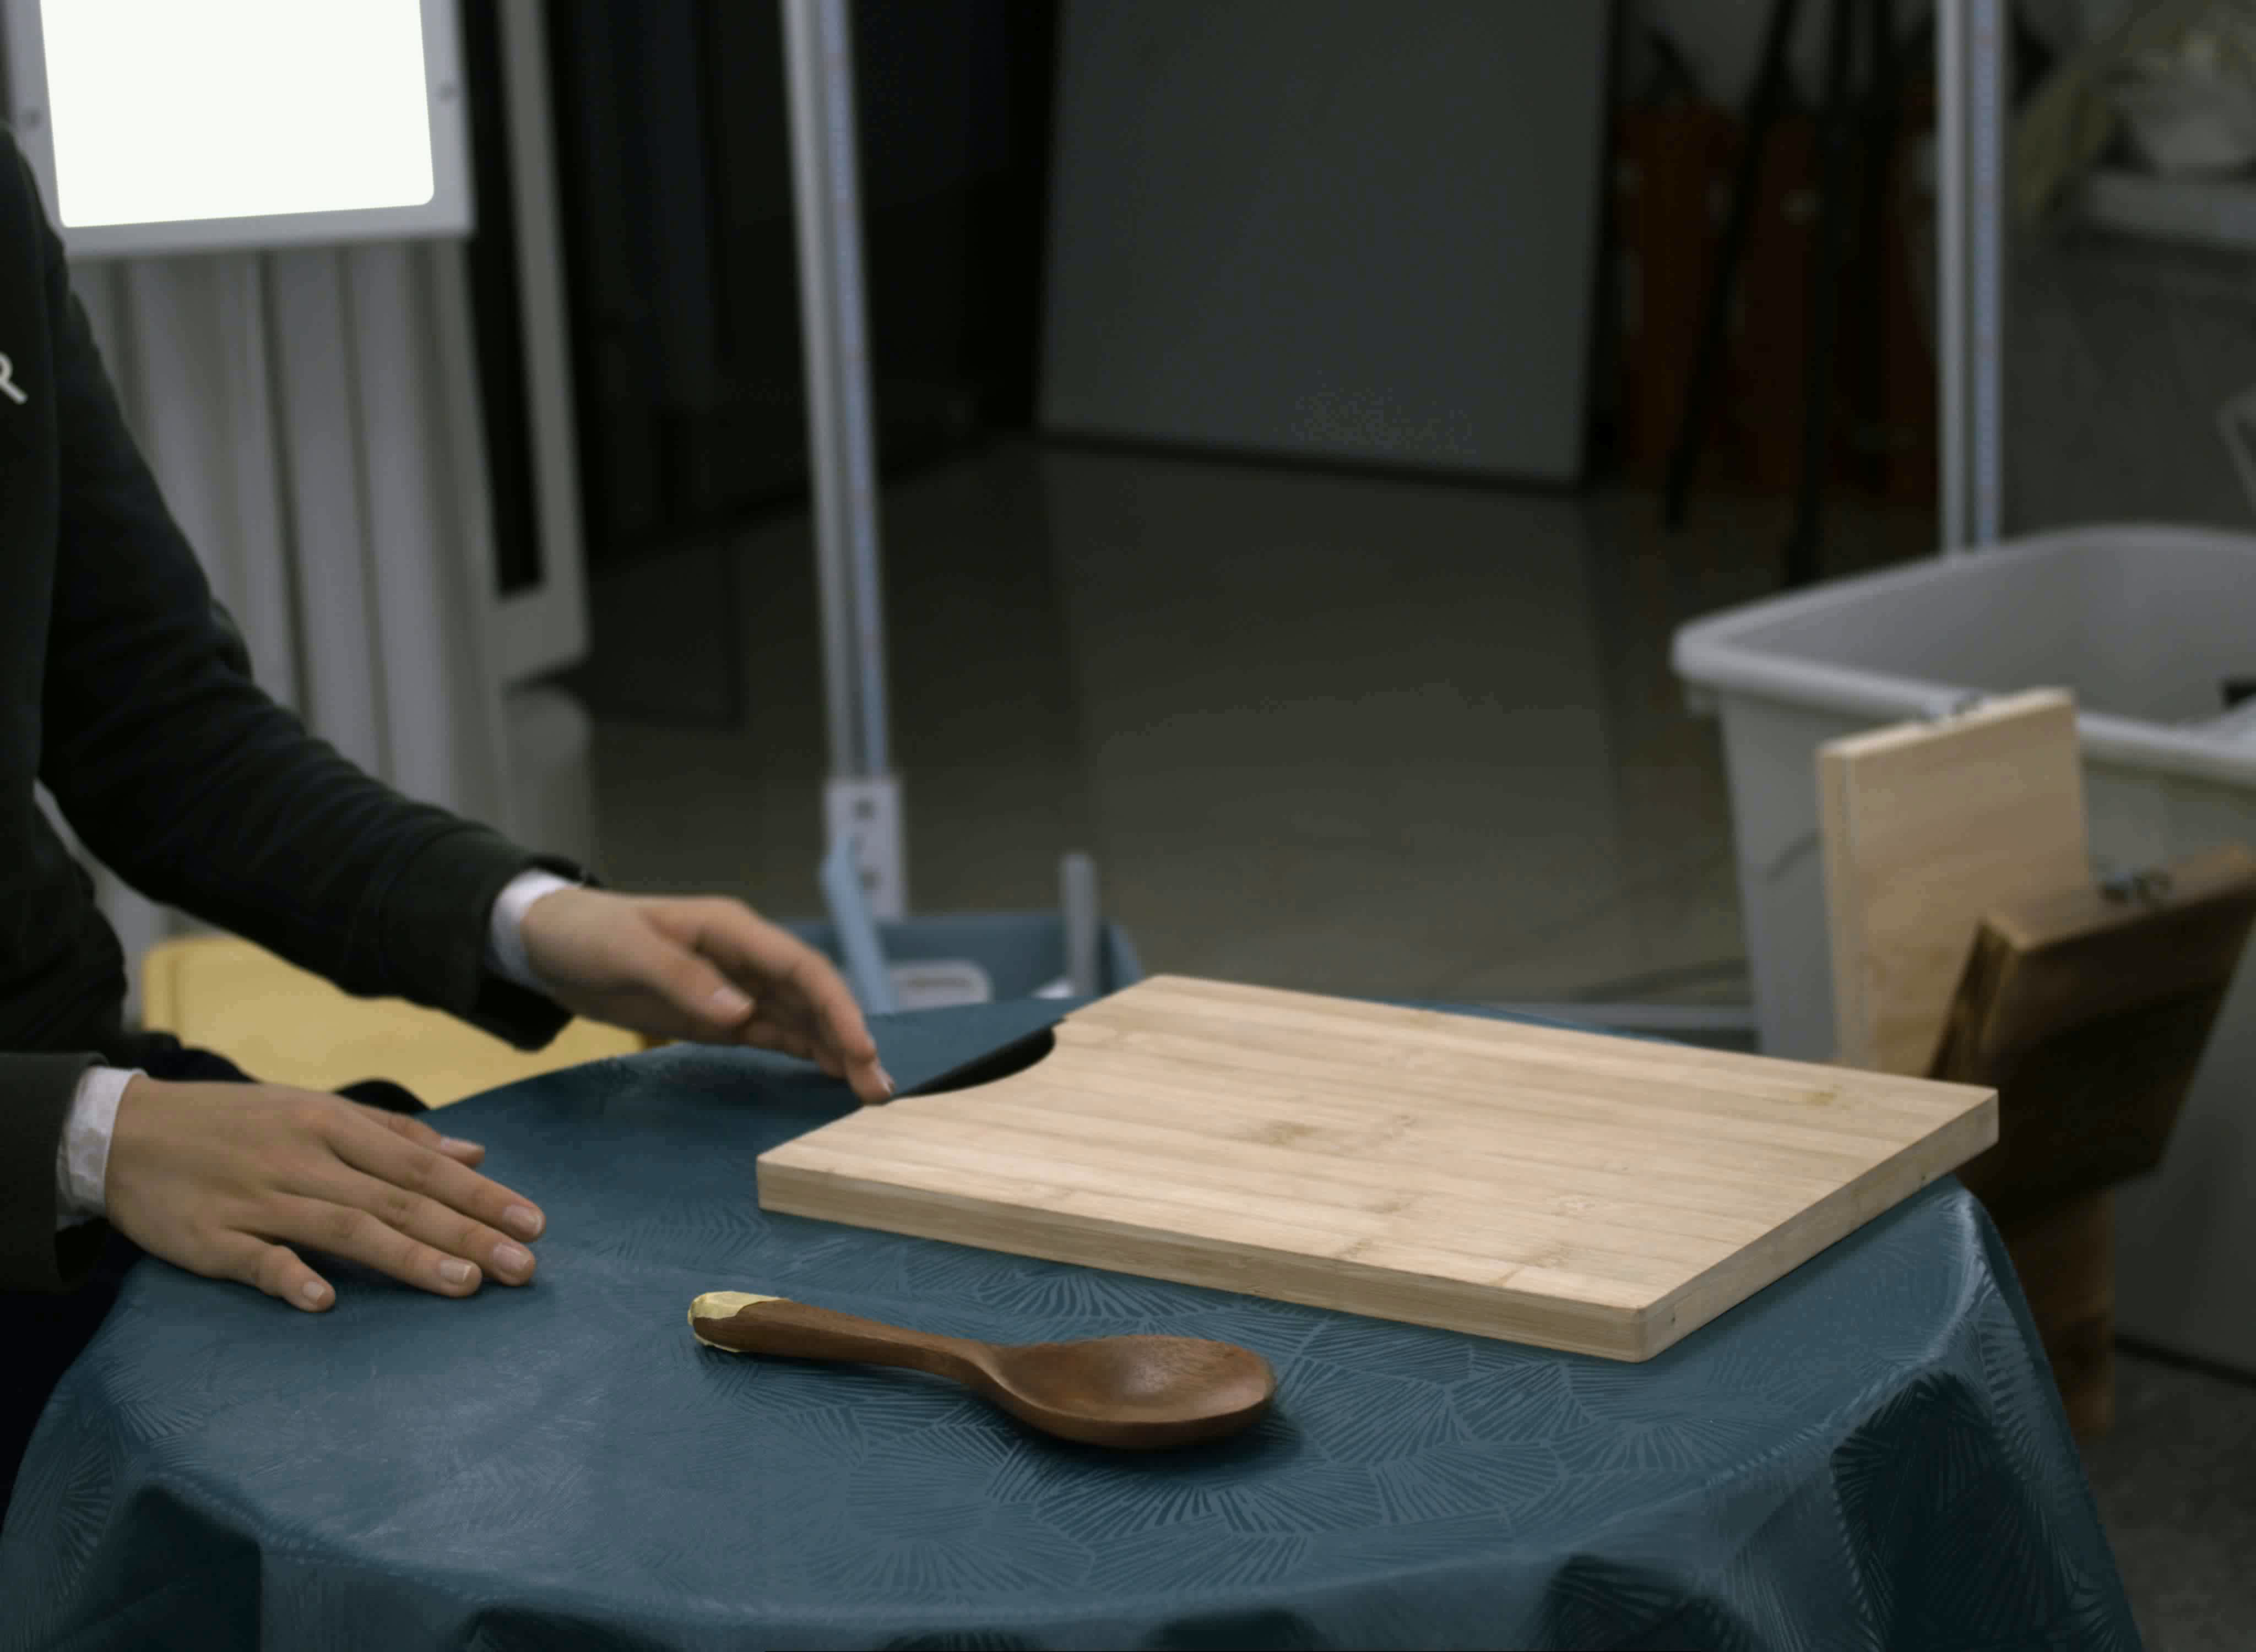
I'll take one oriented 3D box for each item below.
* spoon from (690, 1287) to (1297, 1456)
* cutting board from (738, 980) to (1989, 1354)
[{"bbox_3d":[-0.044,0.159,1.592,0.217,0.017,0.074,7,19,37],"label":"spoon"},{"bbox_3d":[0.077,0.107,1.773,0.351,0.024,0.246,6,16,35],"label":"cutting board"}]
